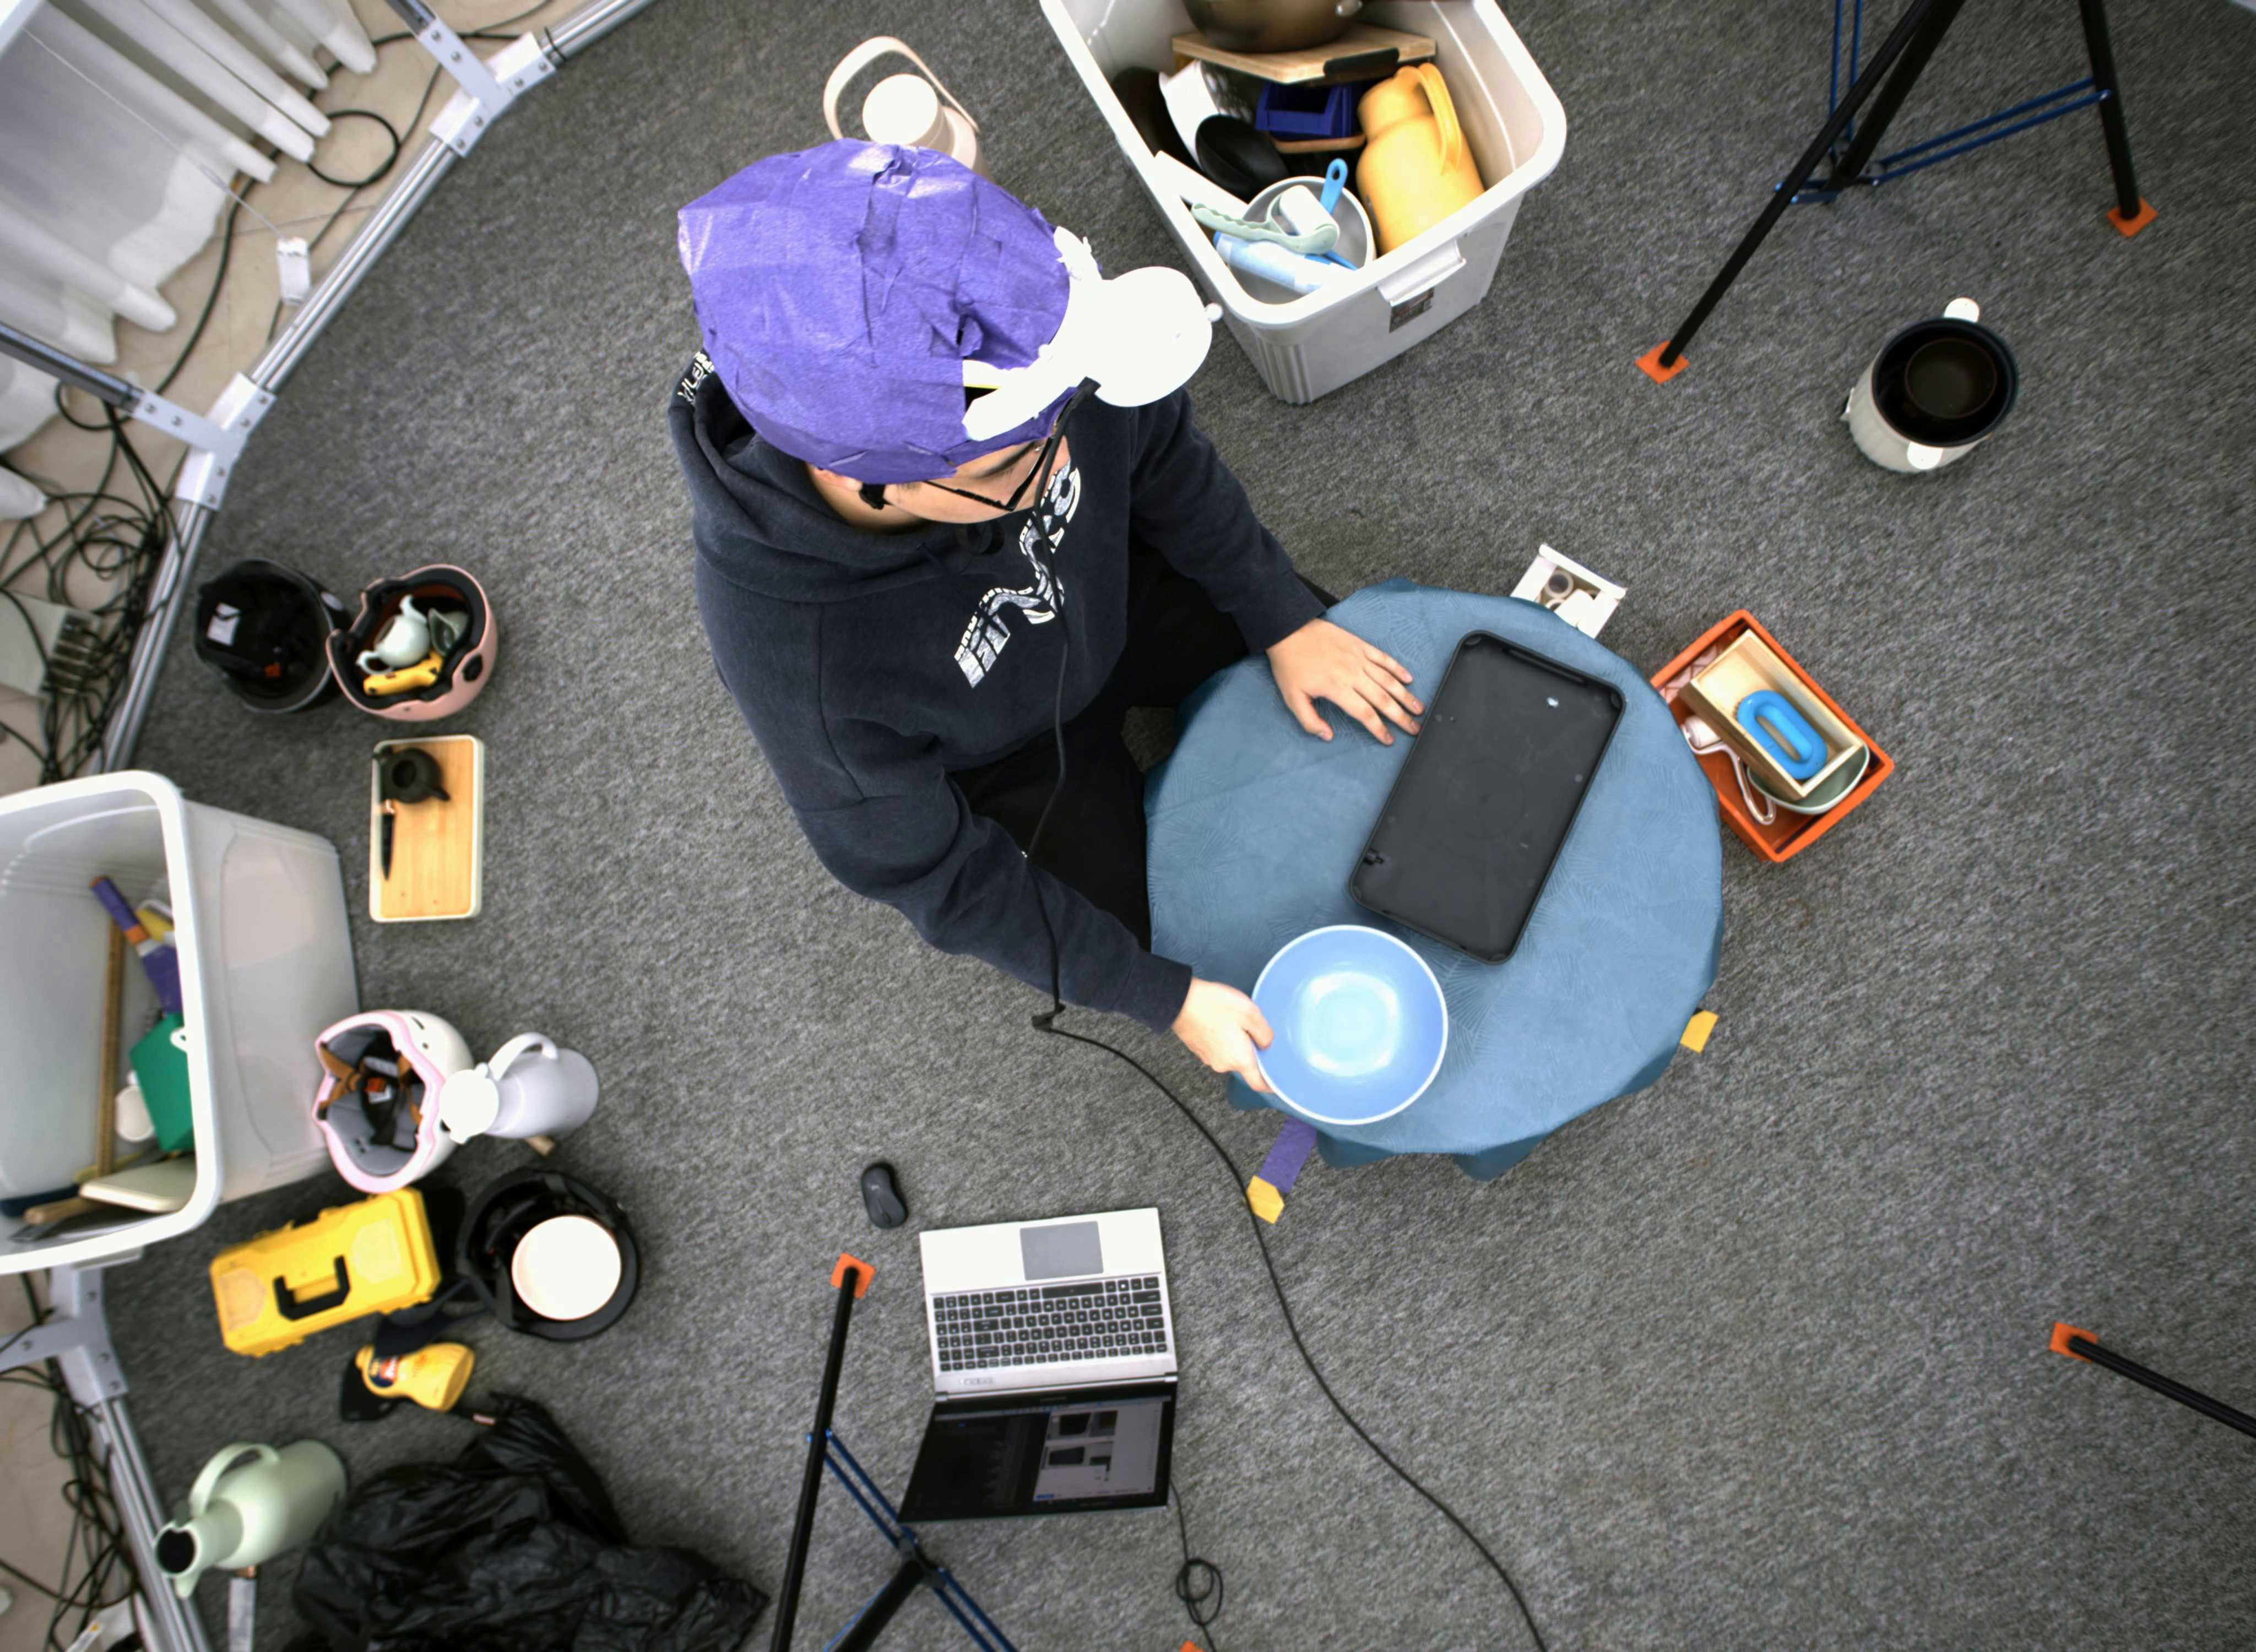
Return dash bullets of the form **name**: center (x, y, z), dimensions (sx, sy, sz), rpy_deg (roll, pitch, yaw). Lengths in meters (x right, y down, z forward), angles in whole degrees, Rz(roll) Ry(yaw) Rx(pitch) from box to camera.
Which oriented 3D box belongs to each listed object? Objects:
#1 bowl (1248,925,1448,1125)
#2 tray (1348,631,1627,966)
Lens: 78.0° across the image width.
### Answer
- **bowl**: center (0.225, 0.199, 1.413), dimensions (0.197, 0.095, 0.196), rpy_deg (-1, 87, 11)
- **tray**: center (0.372, -0.031, 1.428), dimensions (0.184, 0.037, 0.318), rpy_deg (25, 91, 12)
